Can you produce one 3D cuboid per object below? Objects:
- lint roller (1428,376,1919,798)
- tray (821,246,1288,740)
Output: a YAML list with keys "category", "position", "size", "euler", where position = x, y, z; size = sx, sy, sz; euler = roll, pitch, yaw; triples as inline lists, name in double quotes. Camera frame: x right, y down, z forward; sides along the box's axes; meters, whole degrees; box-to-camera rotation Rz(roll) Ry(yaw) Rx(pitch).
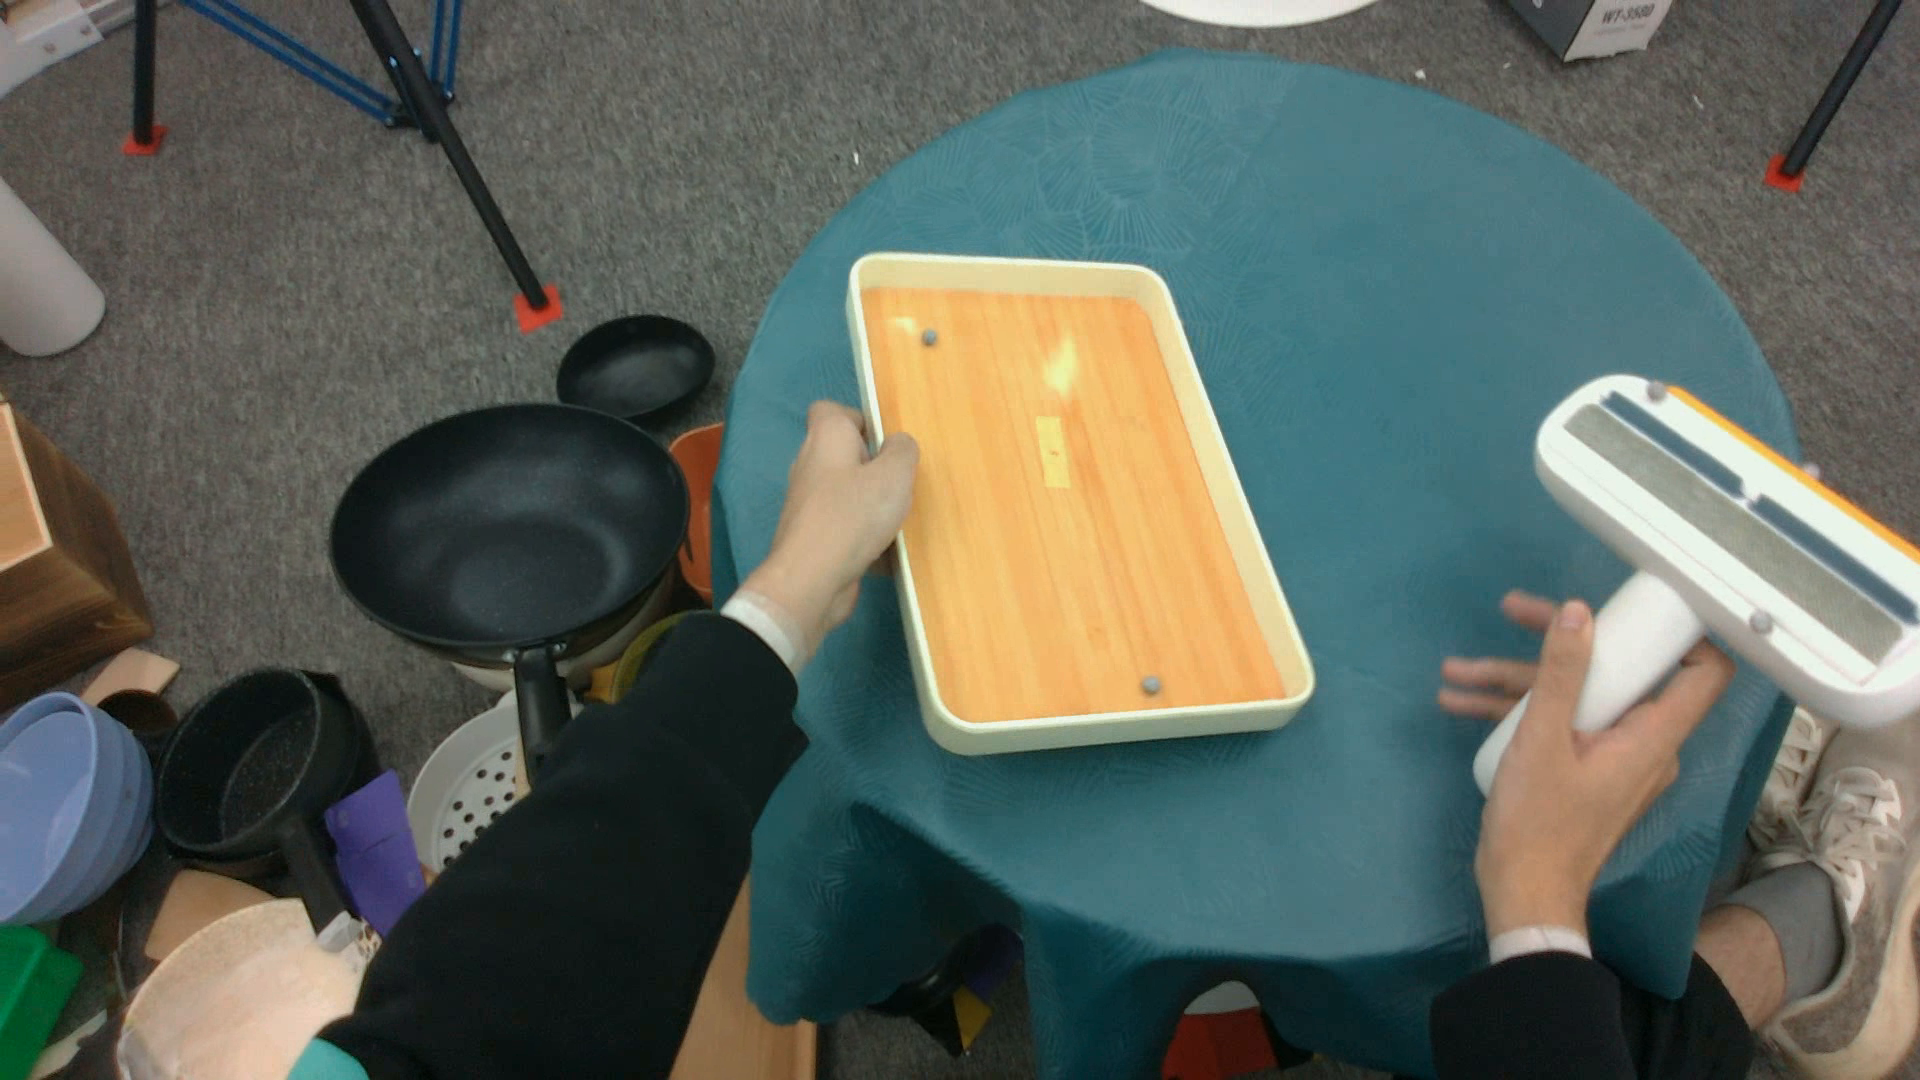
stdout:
- category: "lint roller"
  position: [0.288, 0.042, 0.615]
  size: [0.192, 0.074, 0.193]
  euler: [-43, 51, 13]
- category: "tray"
  position: [0.039, -0.039, 0.716]
  size: [0.192, 0.027, 0.301]
  euler: [-1, 54, -16]
